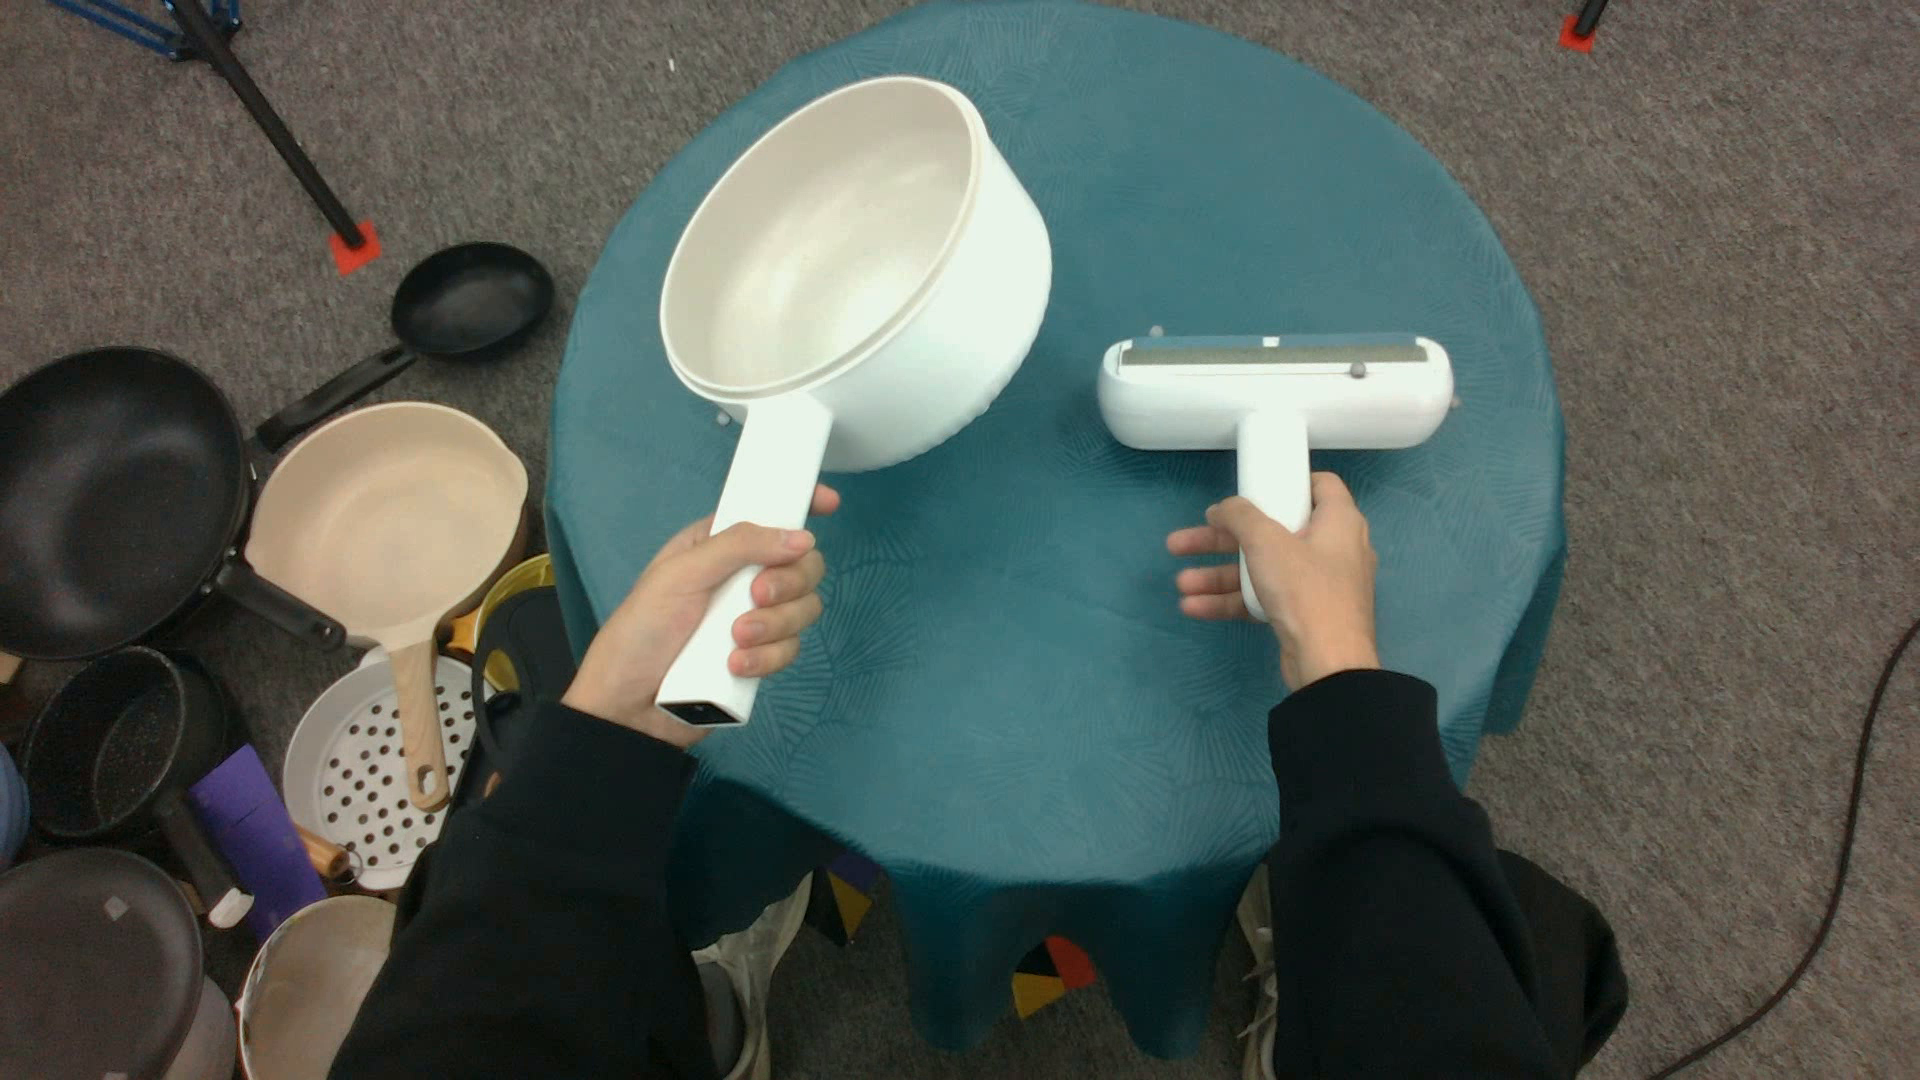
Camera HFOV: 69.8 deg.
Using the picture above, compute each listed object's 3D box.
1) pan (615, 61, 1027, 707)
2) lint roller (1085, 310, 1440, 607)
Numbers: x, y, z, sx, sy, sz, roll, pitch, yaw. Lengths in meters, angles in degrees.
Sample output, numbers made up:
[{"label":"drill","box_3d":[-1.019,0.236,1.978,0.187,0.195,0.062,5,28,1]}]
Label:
[{"label":"pan","box_3d":[-0.077,-0.074,0.689,0.200,0.102,0.356,-6,58,31]},{"label":"lint roller","box_3d":[0.158,-0.051,0.734,0.192,0.074,0.193,2,43,11]}]
